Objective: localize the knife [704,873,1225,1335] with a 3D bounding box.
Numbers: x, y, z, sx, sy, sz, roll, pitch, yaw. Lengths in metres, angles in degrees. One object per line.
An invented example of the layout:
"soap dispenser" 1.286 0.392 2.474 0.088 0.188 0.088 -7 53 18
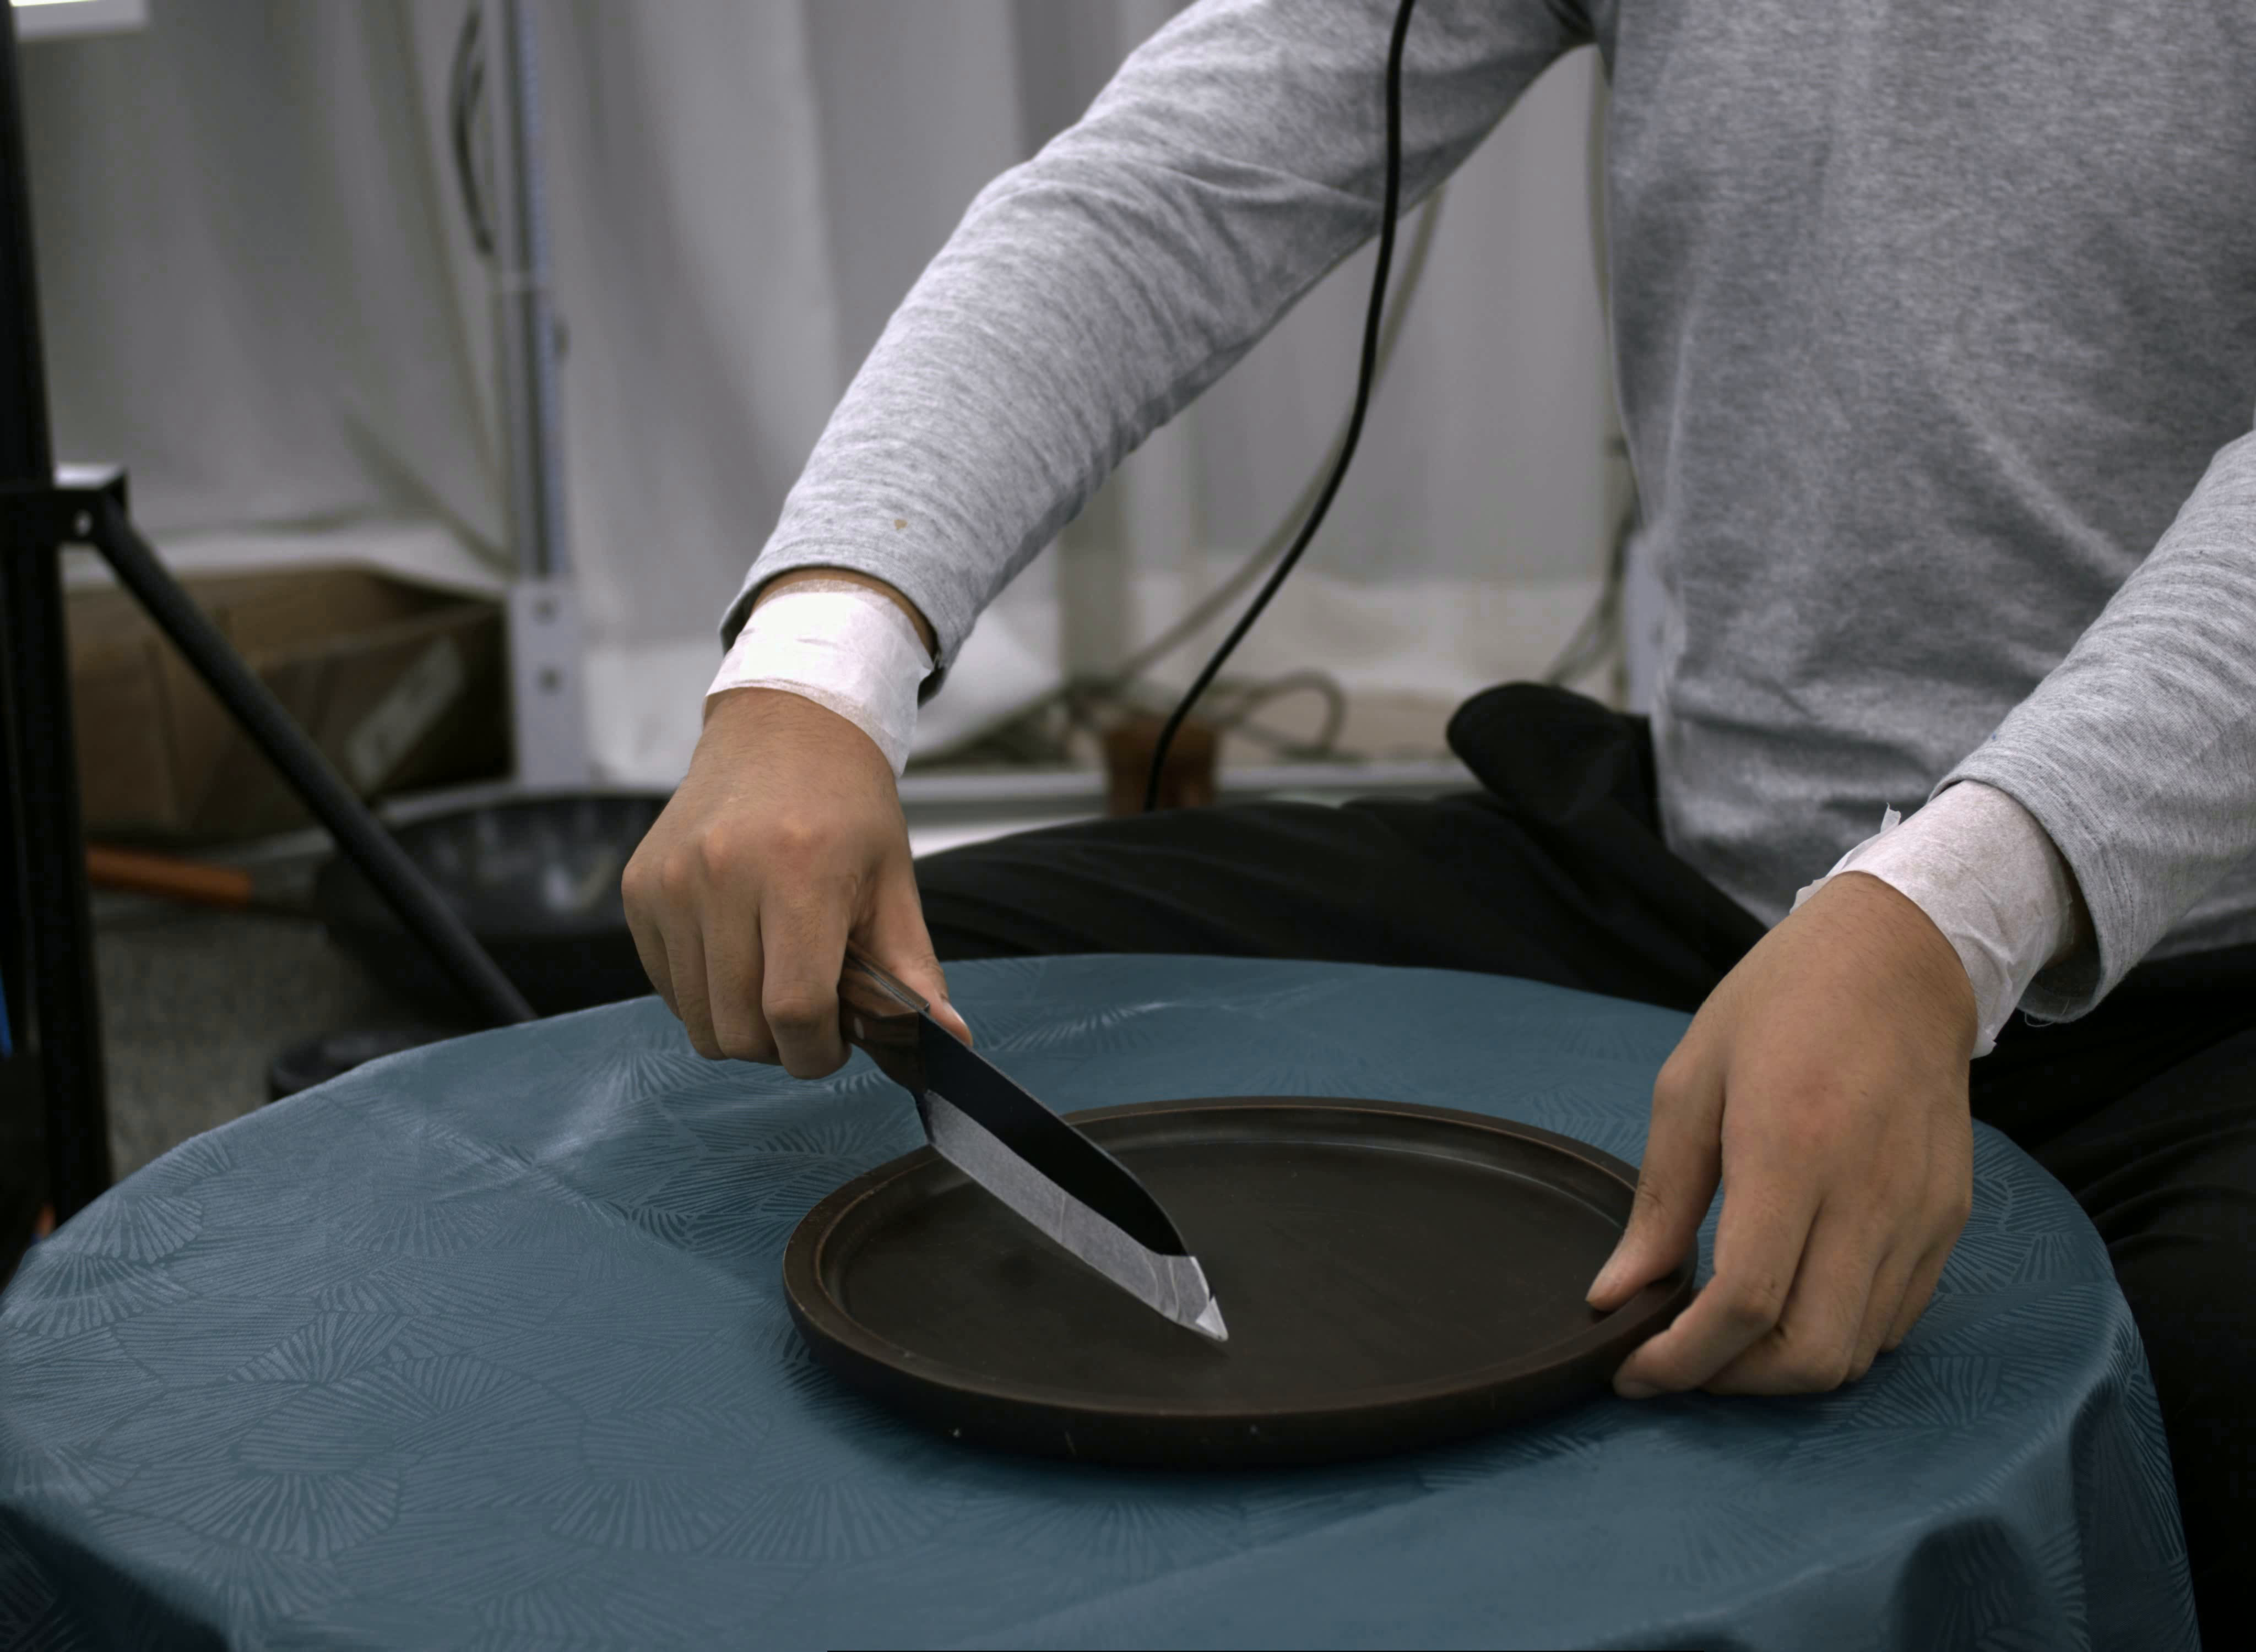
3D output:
"knife" -0.048 0.076 1.513 0.019 0.050 0.296 -18 31 -25

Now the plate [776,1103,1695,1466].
"plate" 0.030 0.123 1.459 0.253 0.029 0.256 -3 14 -1
